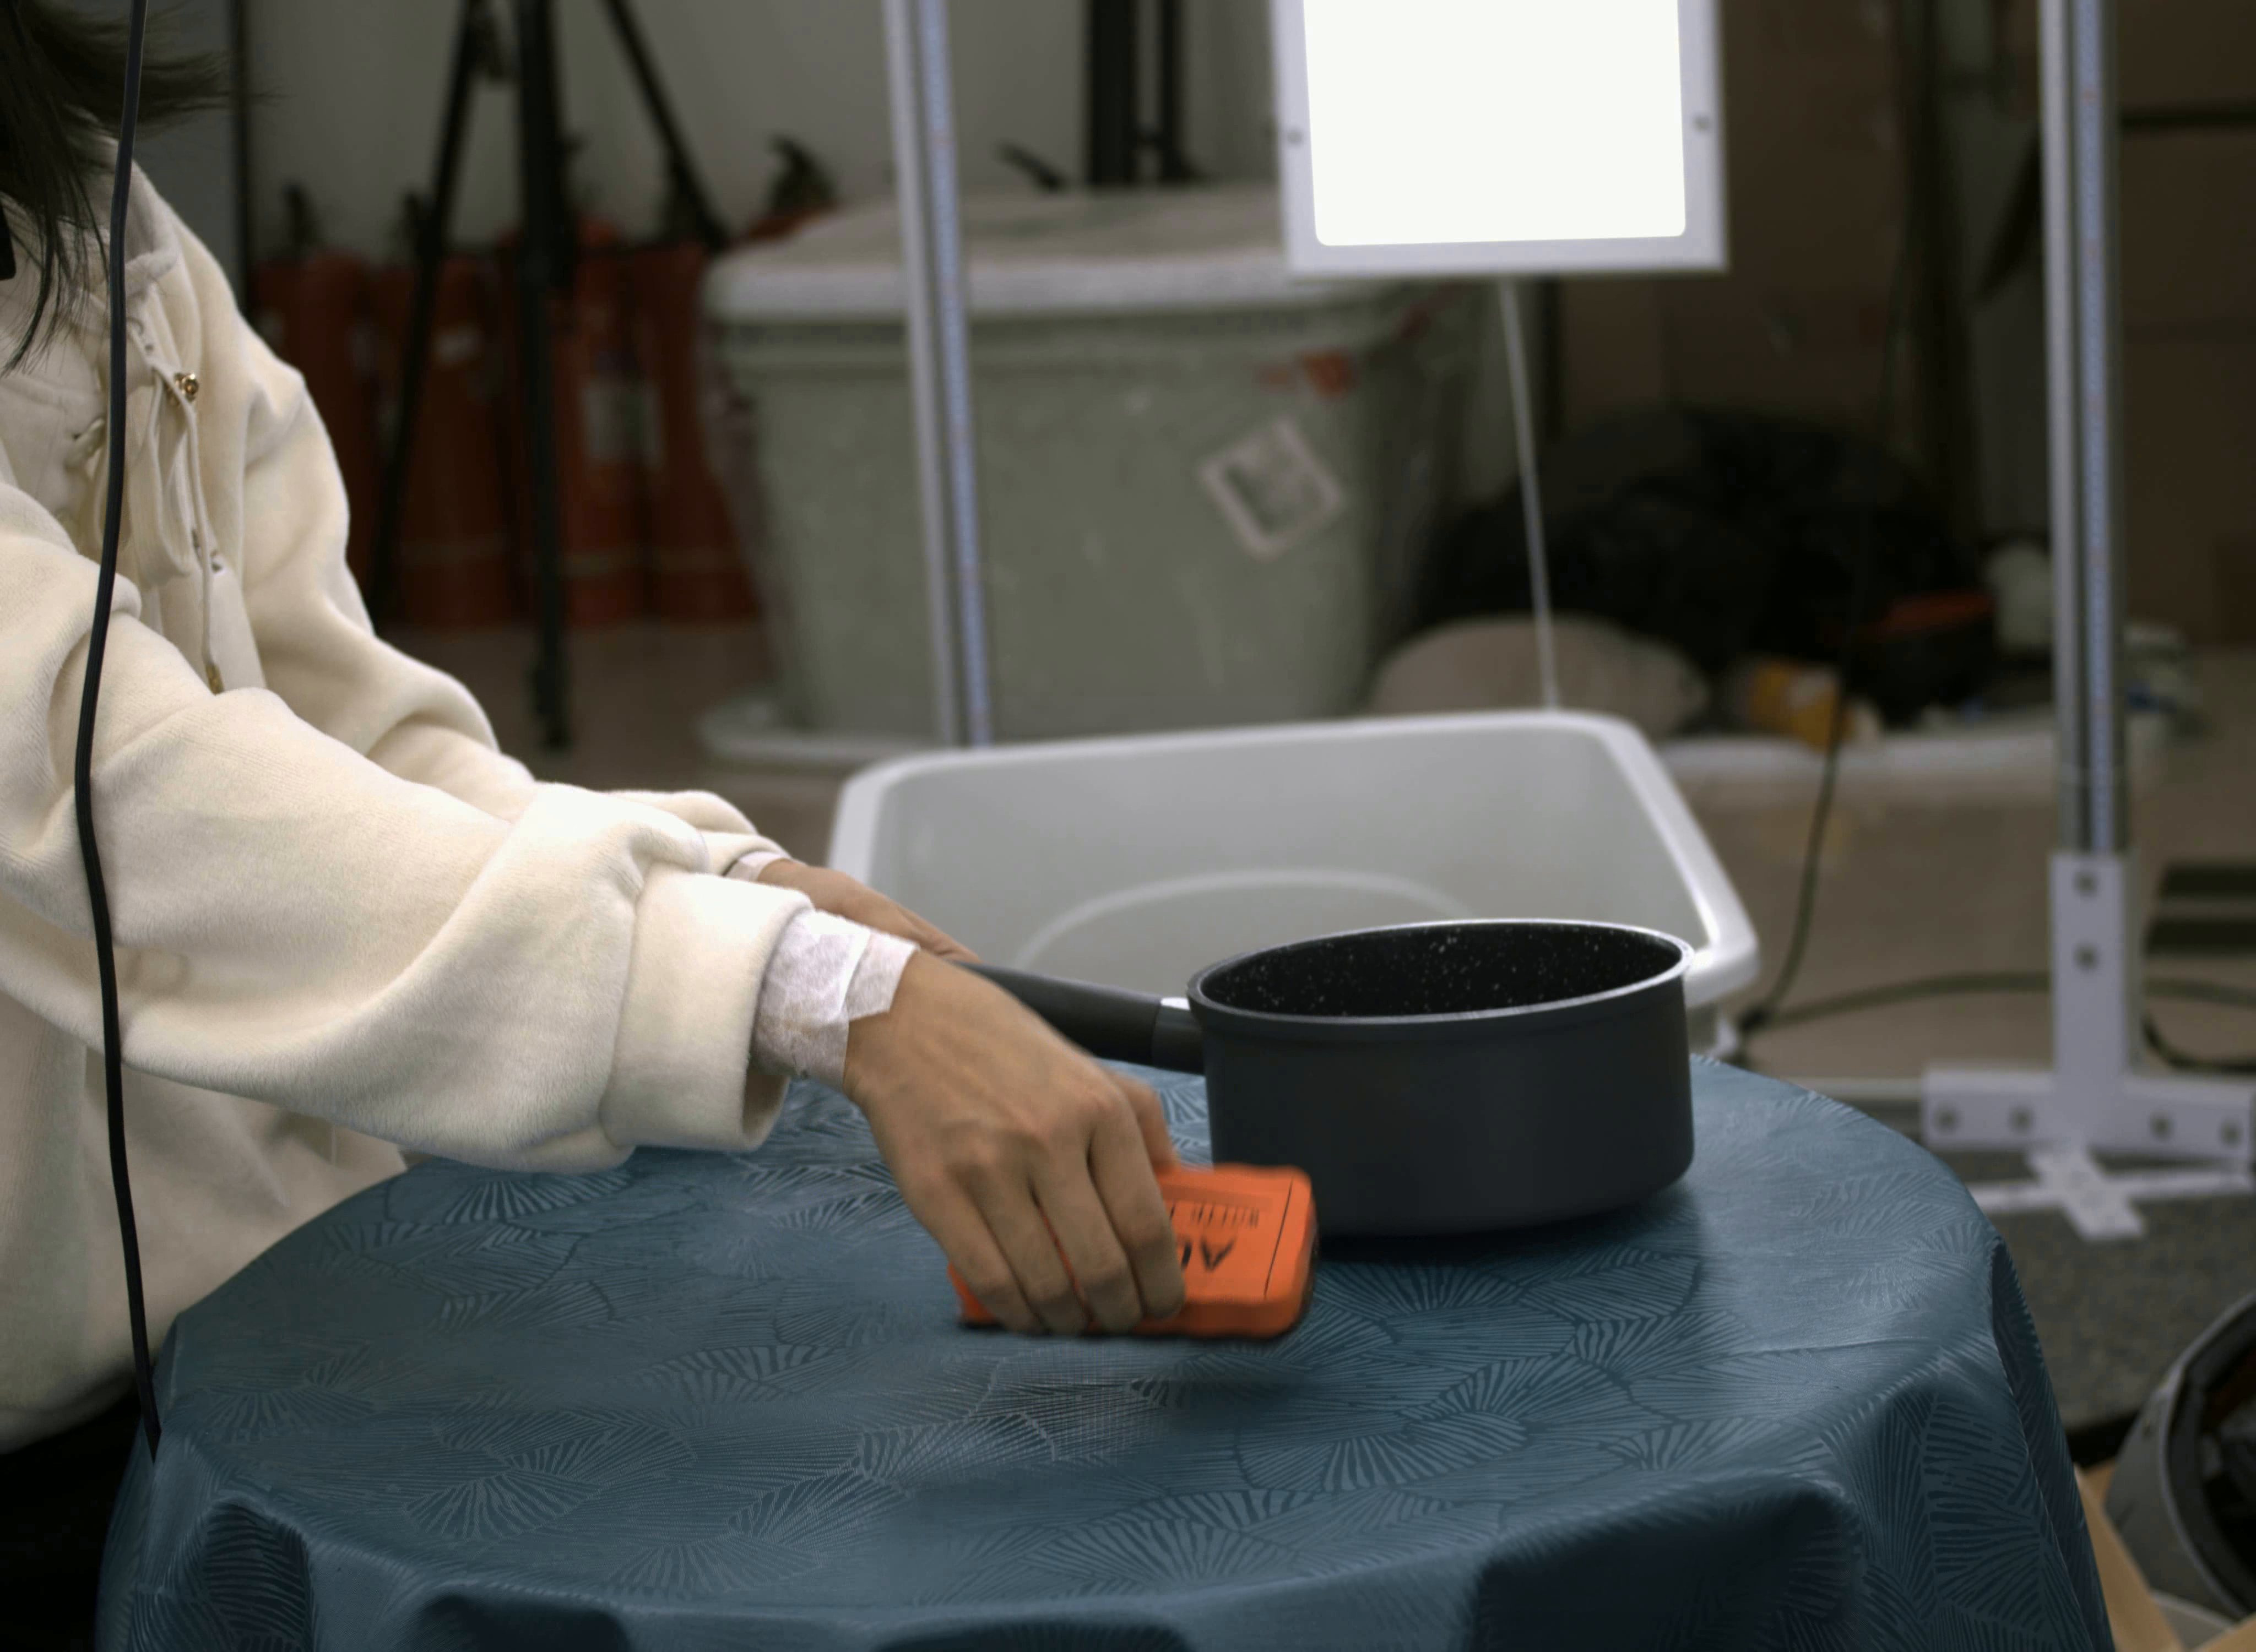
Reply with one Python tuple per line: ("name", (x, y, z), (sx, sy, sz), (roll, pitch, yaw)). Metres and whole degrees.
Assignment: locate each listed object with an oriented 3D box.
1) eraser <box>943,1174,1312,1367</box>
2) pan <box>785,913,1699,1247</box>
("eraser", (0.001, 0.136, 1.695), (0.109, 0.023, 0.058), (2, 42, 17))
("pan", (0.035, 0.082, 1.884), (0.334, 0.087, 0.168), (1, 11, 24))
